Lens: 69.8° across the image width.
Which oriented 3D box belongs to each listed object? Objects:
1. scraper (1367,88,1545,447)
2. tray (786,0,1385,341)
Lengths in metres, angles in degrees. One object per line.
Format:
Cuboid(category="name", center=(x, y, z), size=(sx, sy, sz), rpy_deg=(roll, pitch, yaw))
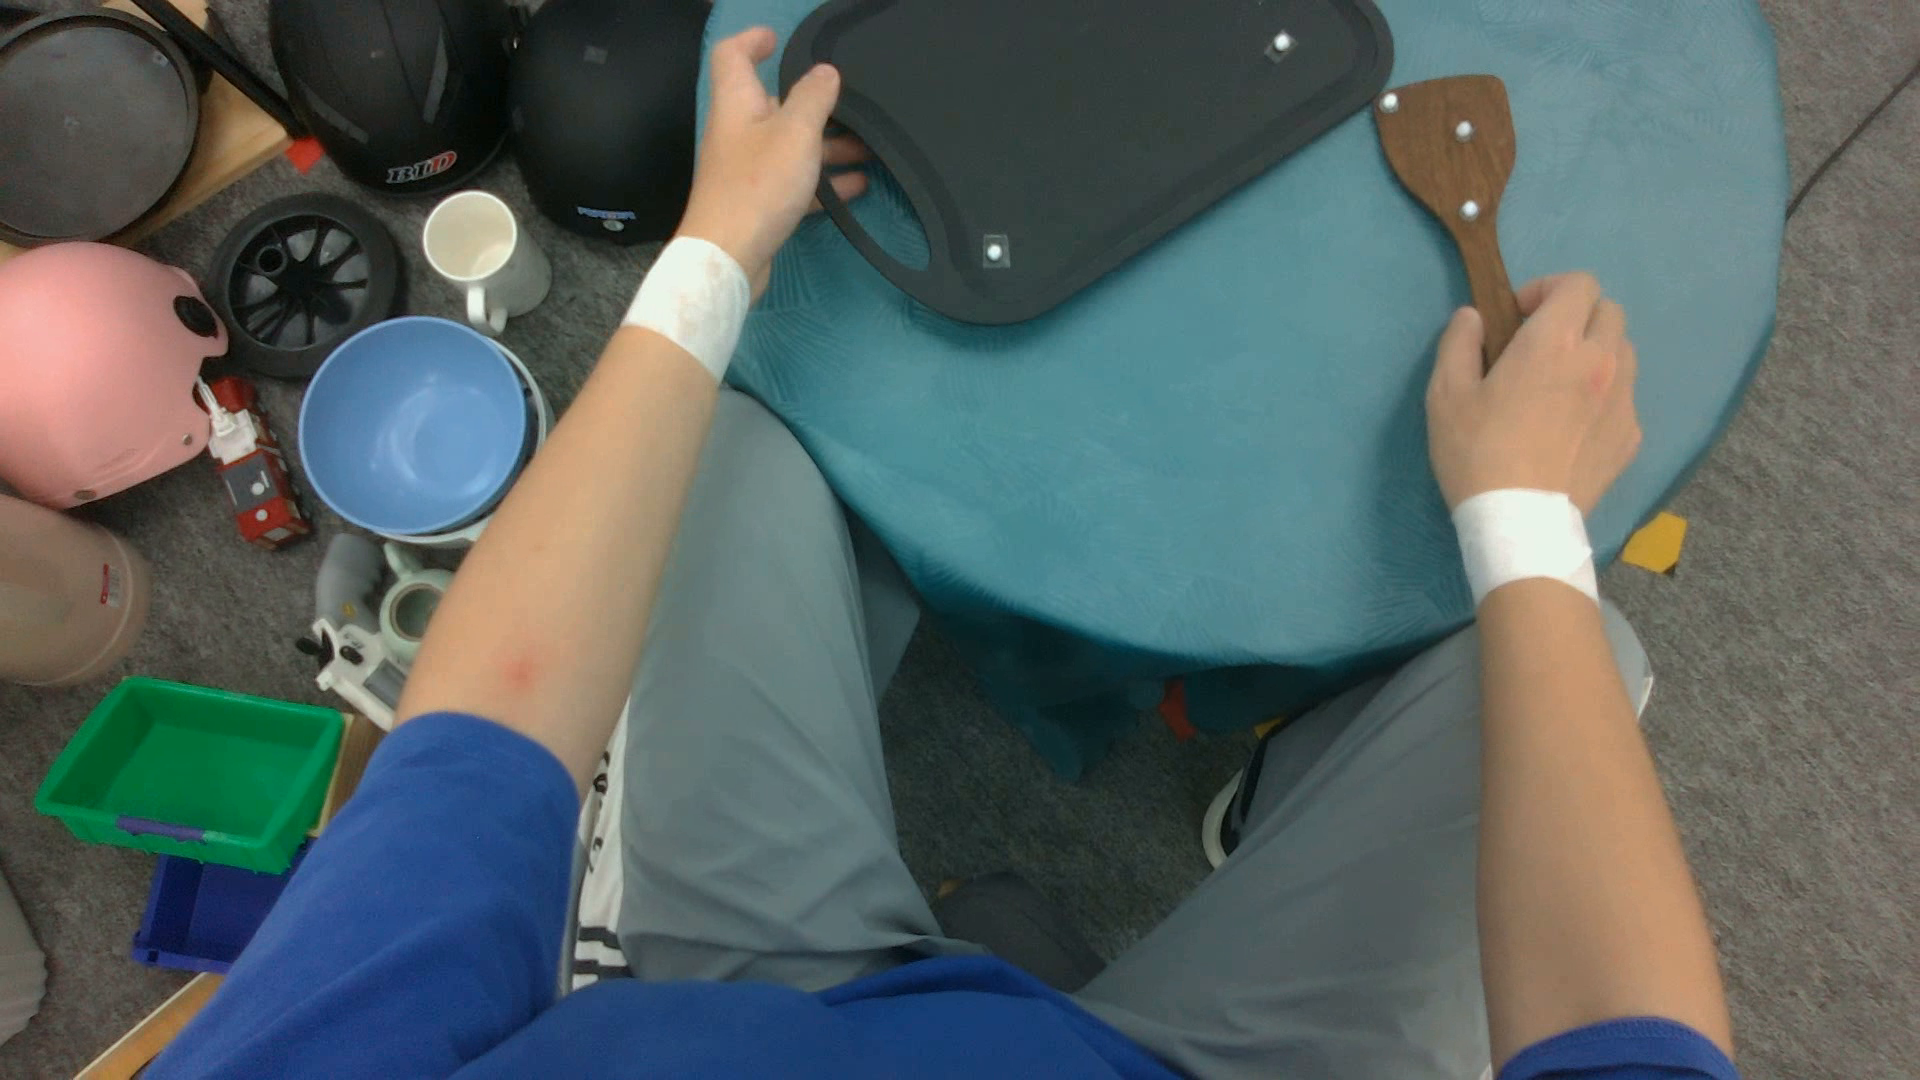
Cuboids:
Cuboid(category="scraper", center=(0.276, -0.149, 0.742), size=(0.076, 0.011, 0.212), rpy_deg=(-8, 73, 1))
Cuboid(category="tray", center=(0.066, -0.252, 0.767), size=(0.326, 0.010, 0.211), rpy_deg=(-34, 81, -9))
